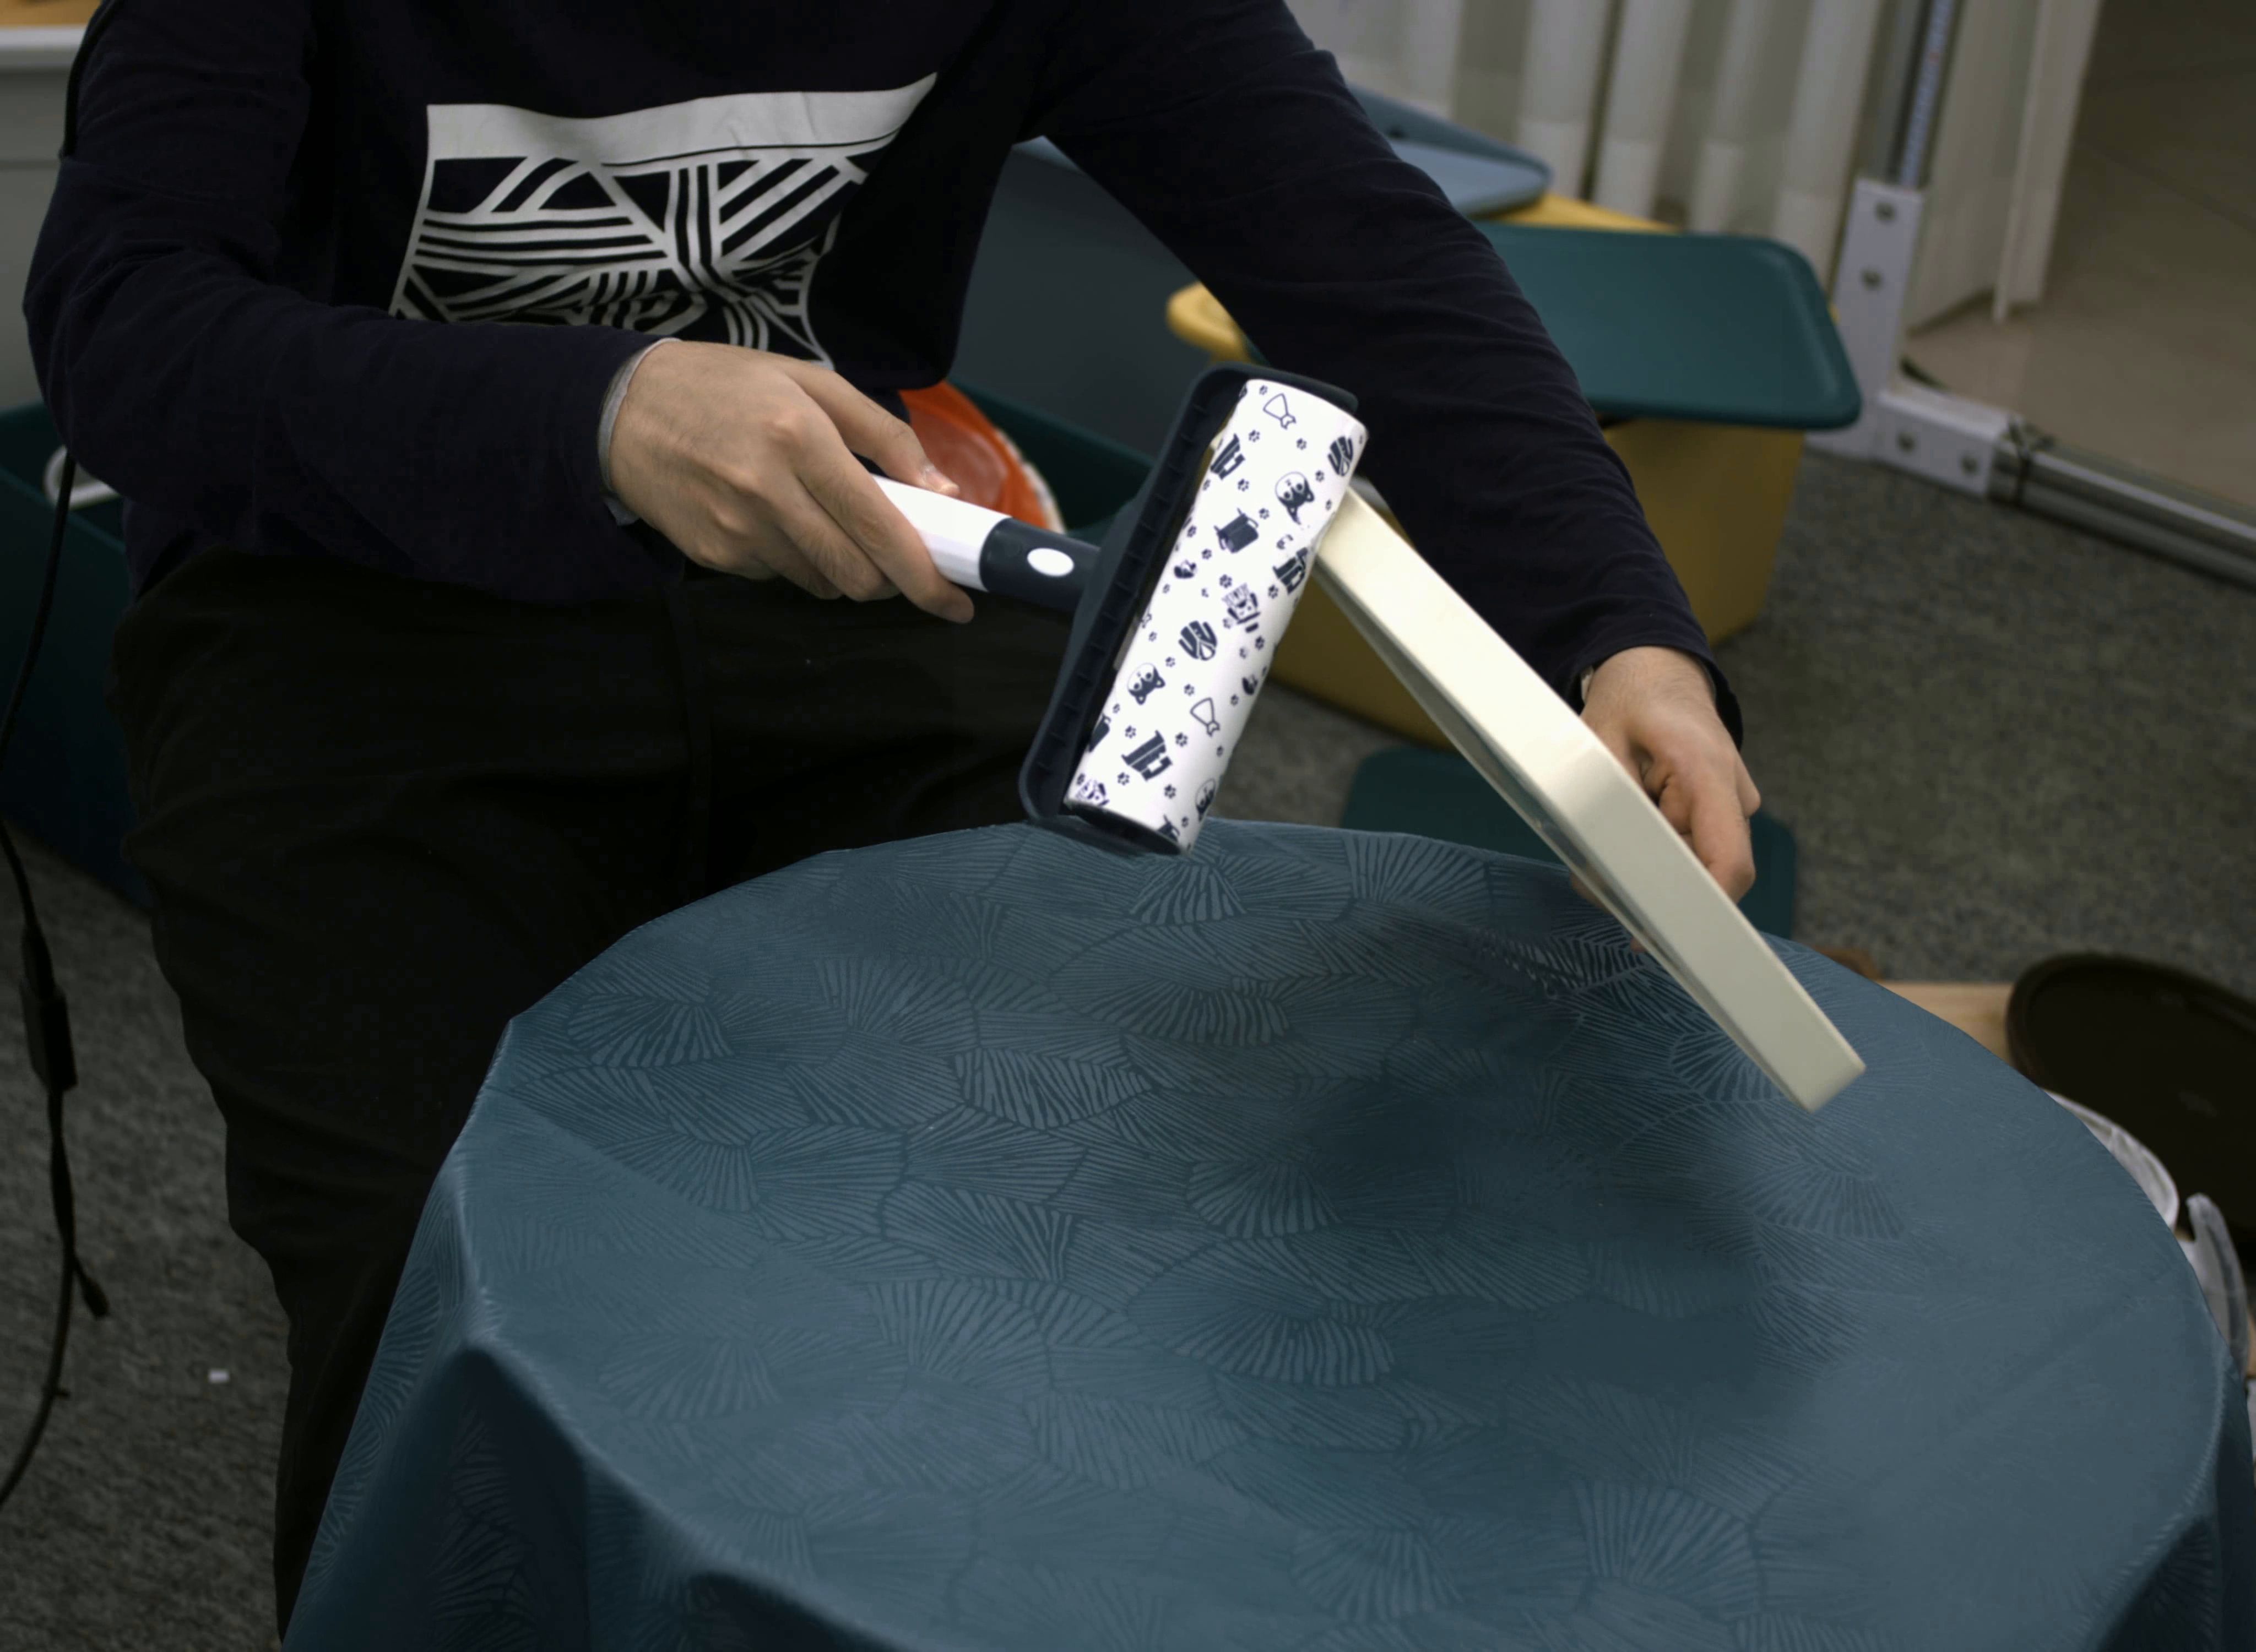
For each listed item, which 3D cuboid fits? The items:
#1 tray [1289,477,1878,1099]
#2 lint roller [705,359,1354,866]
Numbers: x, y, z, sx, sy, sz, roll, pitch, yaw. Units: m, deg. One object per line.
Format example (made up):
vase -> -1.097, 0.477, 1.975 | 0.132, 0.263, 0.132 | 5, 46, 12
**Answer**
tray -> 0.137, -0.030, 1.848 | 0.190, 0.027, 0.303 | 44, 4, -34
lint roller -> -0.055, -0.095, 1.868 | 0.248, 0.177, 0.050 | 16, -11, 32
